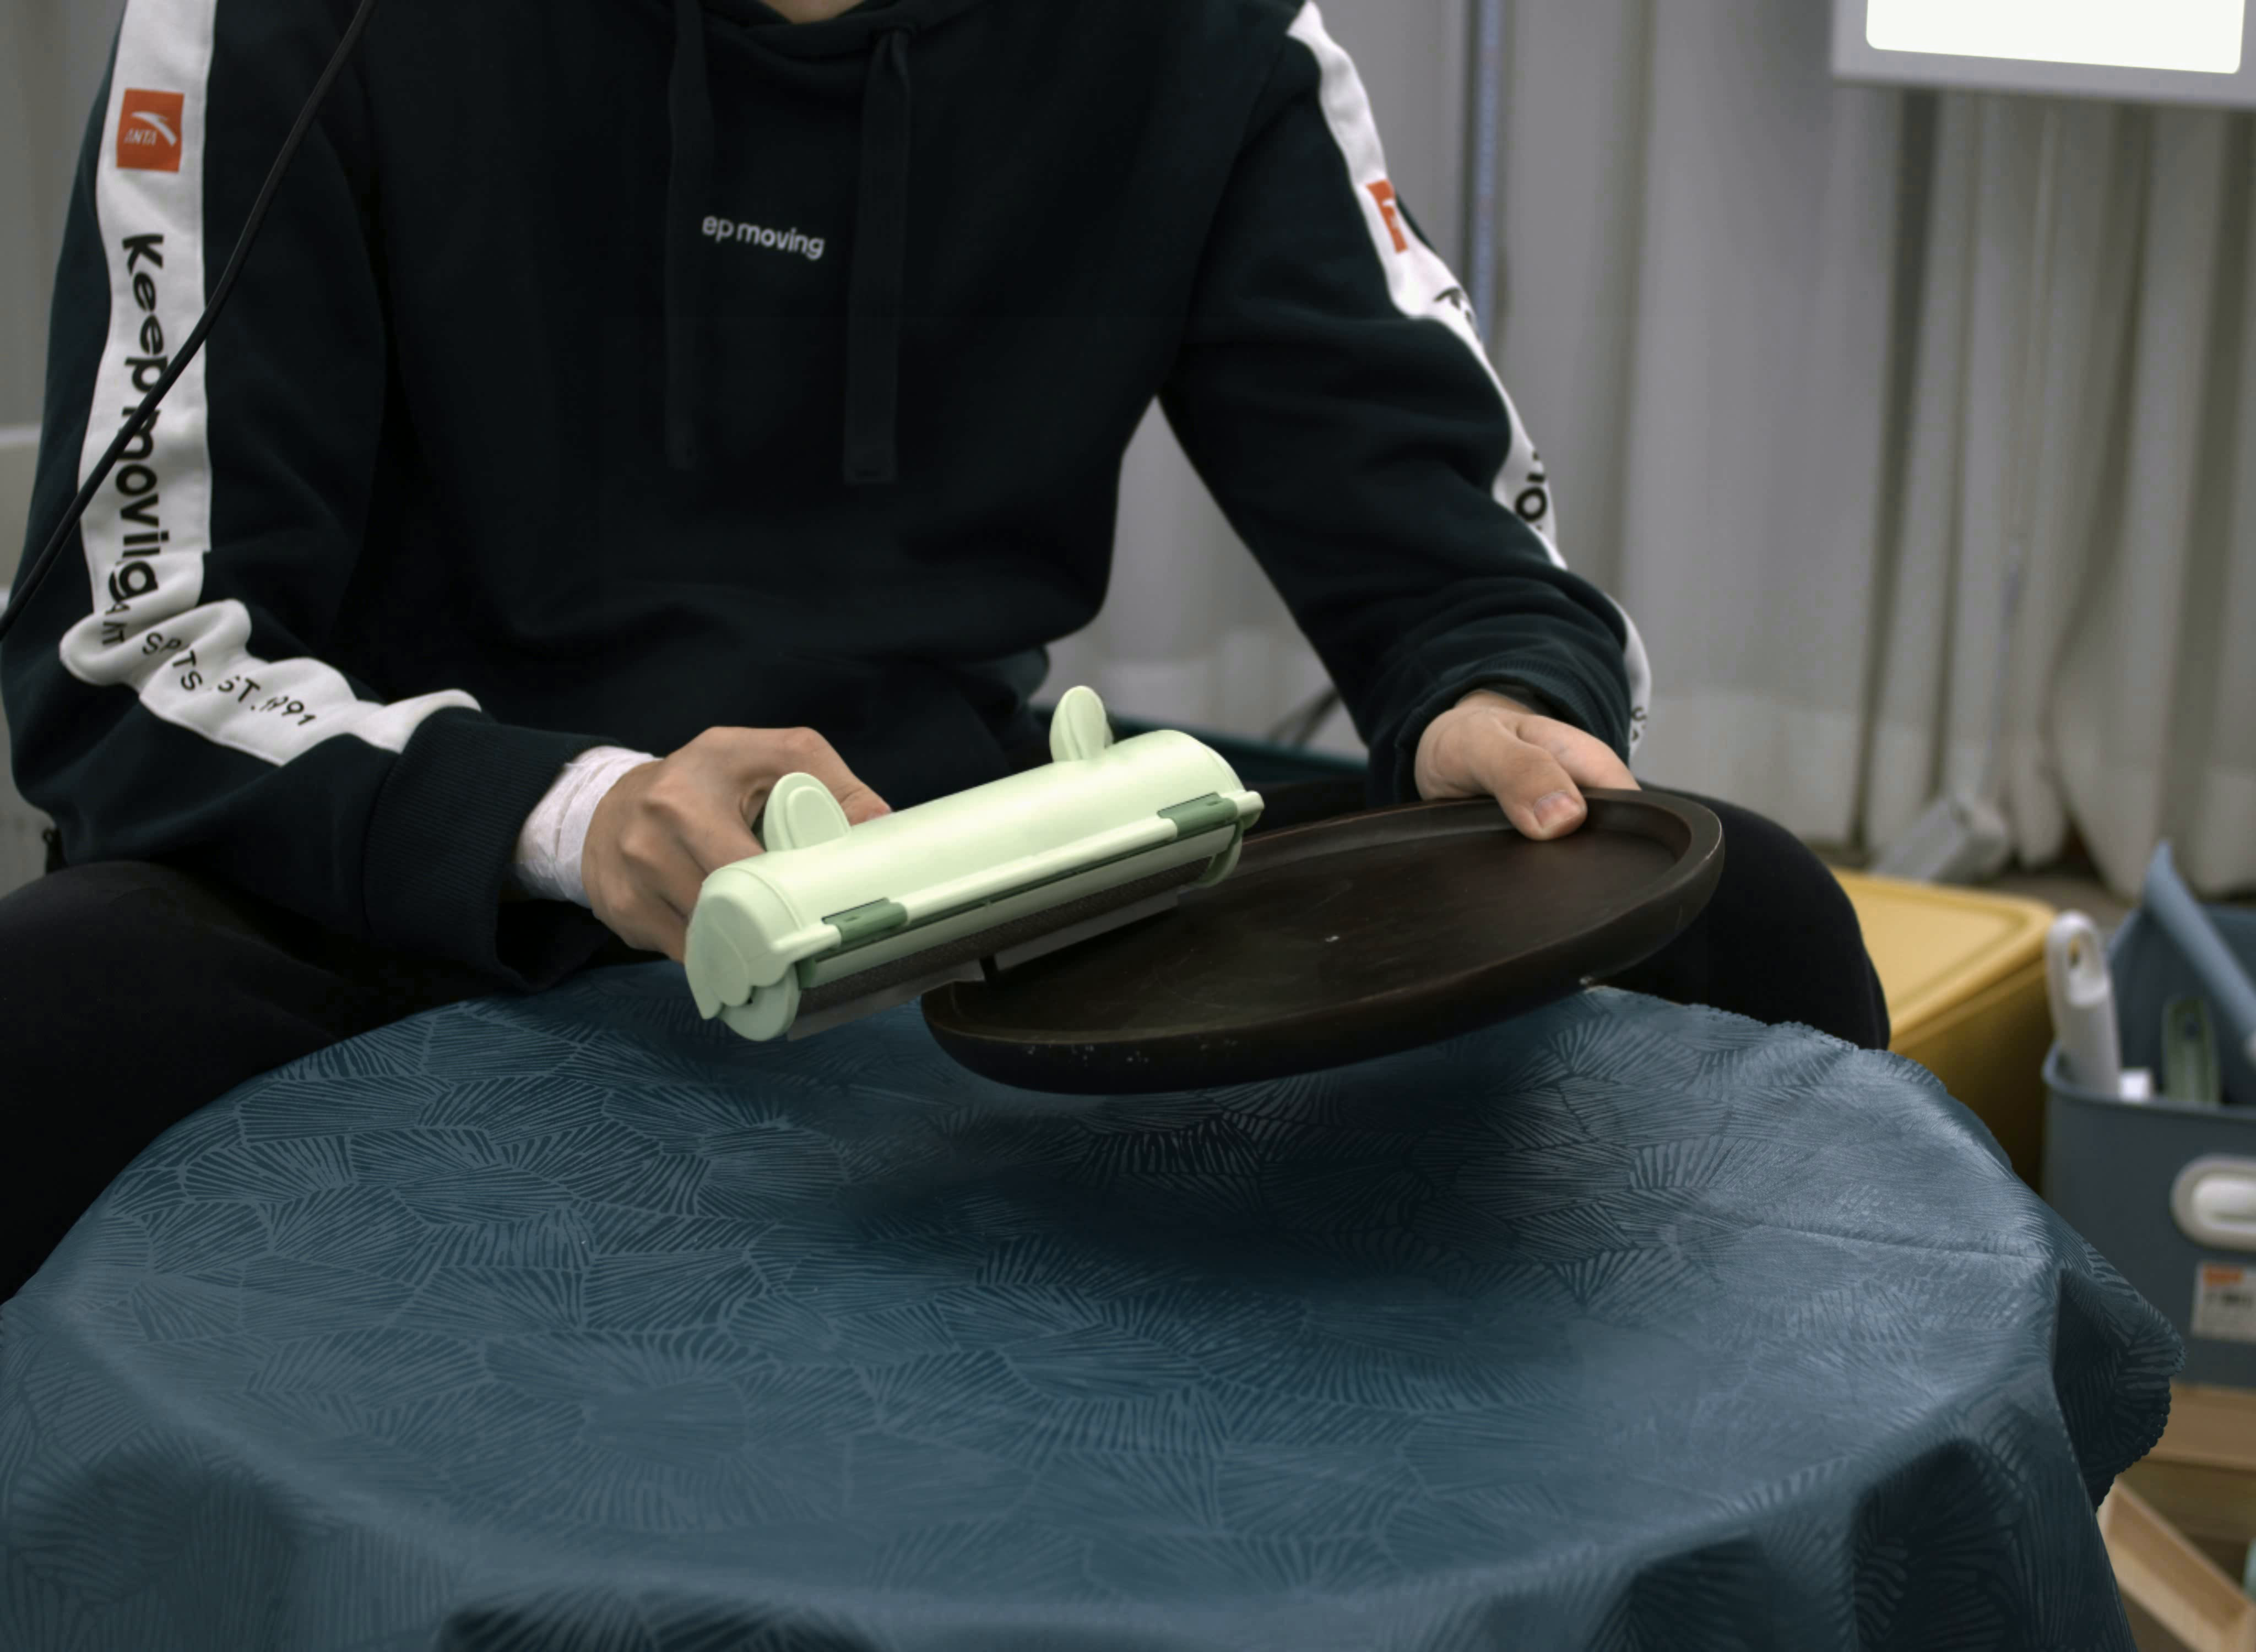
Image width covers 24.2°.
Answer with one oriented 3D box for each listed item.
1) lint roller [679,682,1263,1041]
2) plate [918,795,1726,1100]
[{"bbox_3d":[-0.085,0.000,1.672,0.199,0.083,0.181,-18,23,-39],"label":"lint roller"},{"bbox_3d":[0.060,0.035,1.613,0.254,0.029,0.253,-13,13,4],"label":"plate"}]
